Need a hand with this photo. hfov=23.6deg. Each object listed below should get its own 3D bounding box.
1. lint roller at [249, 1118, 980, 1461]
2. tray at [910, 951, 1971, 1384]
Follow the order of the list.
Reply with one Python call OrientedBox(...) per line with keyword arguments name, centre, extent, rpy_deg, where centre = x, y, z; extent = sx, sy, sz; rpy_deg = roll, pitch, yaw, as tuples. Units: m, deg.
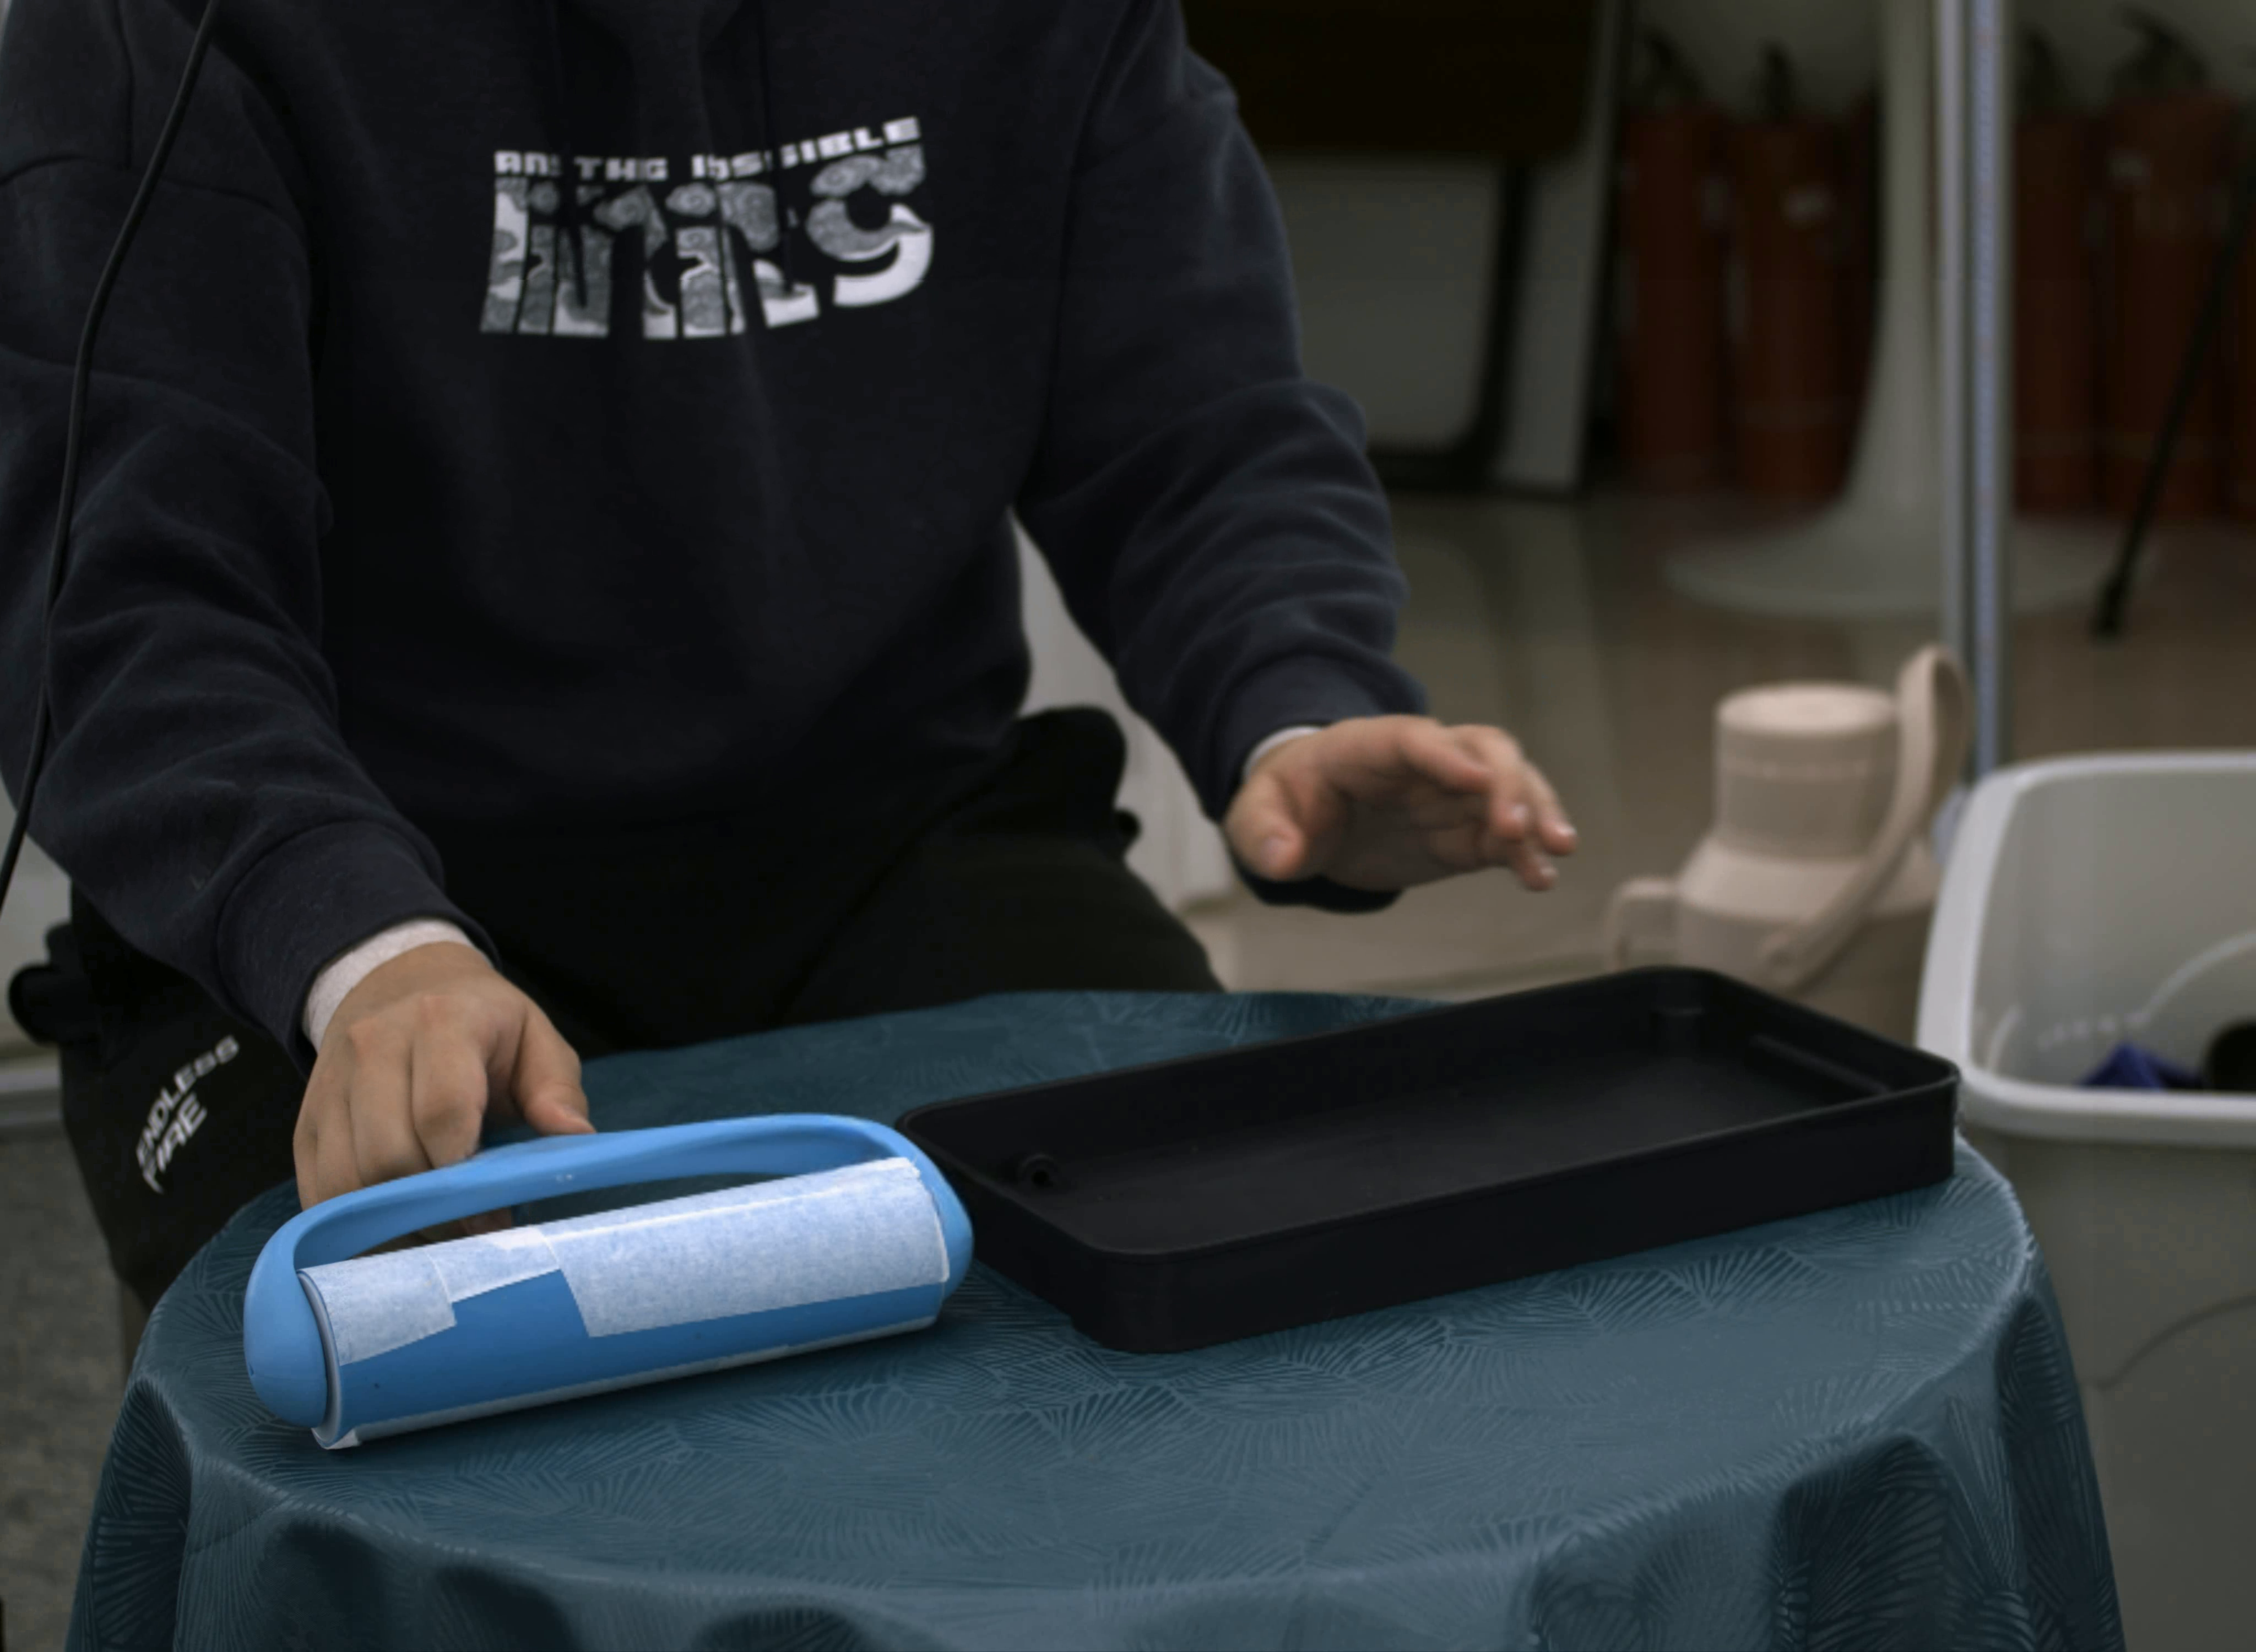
OrientedBox(name="lint roller", centre=(-0.176, 0.130, 1.666), extent=(0.224, 0.068, 0.182), rpy_deg=(-12, 17, -23))
OrientedBox(name="tray", centre=(0.102, 0.106, 1.747), extent=(0.311, 0.037, 0.186), rpy_deg=(-13, 16, -24))
